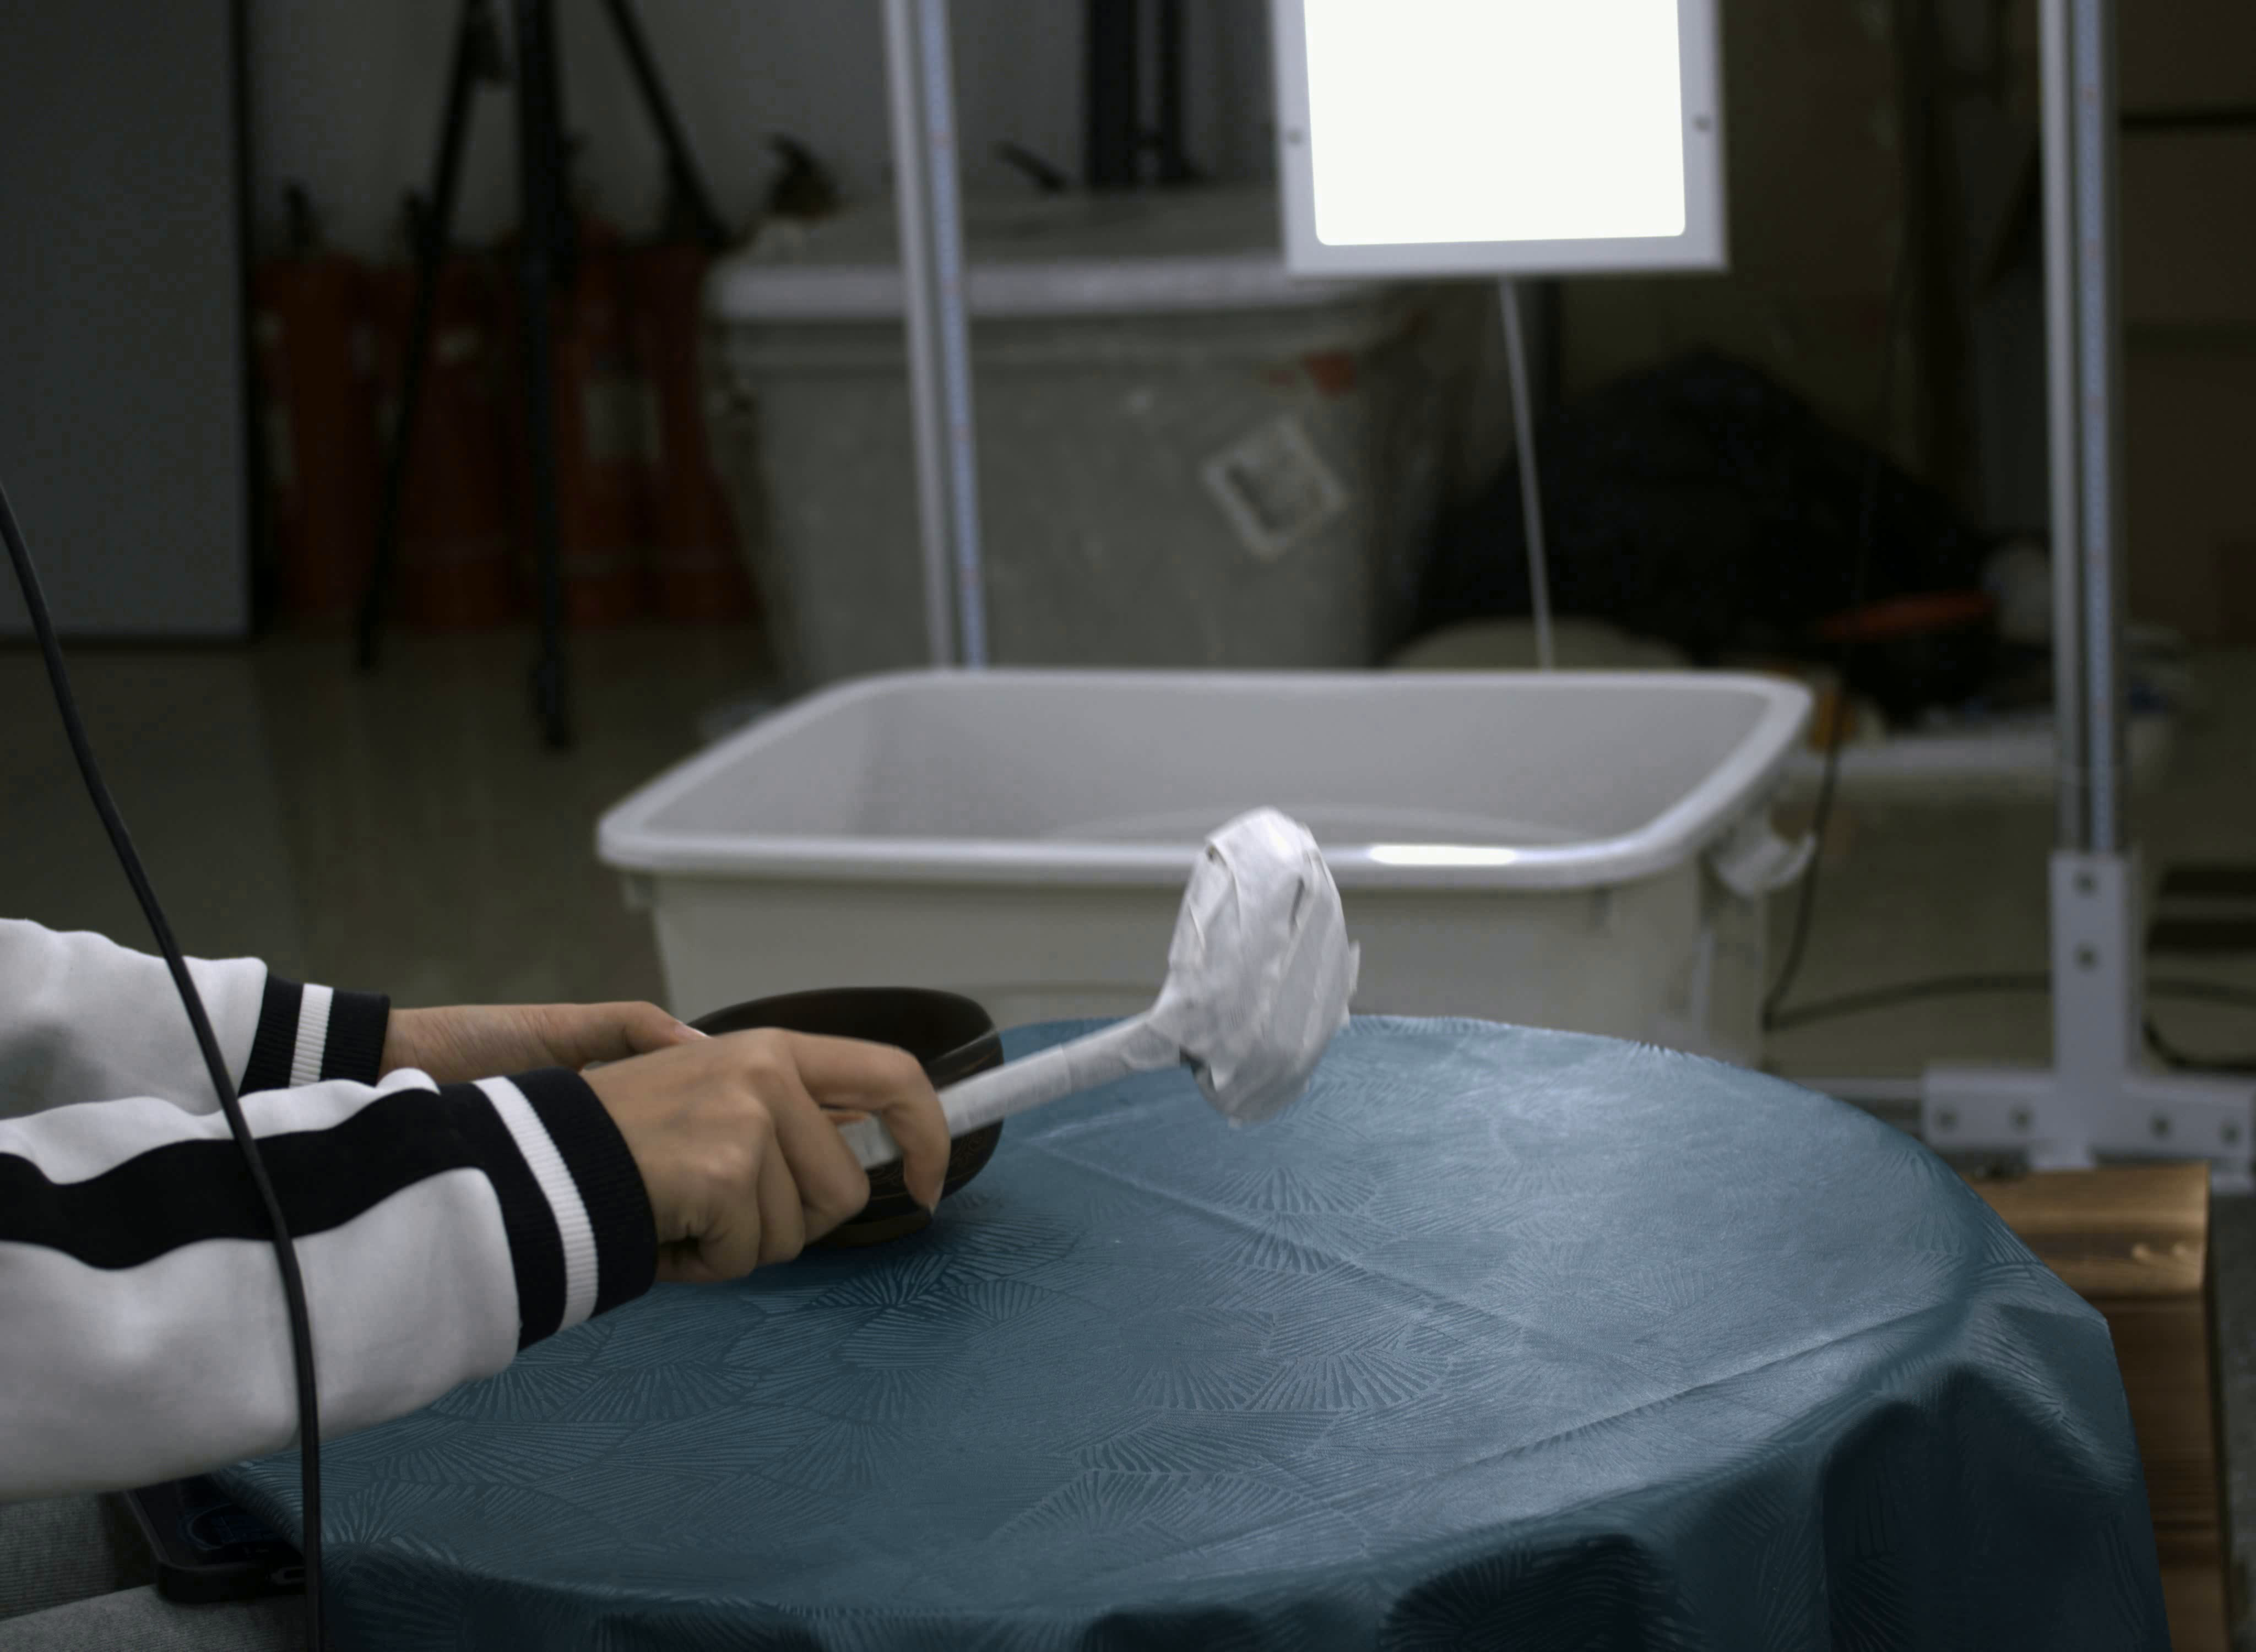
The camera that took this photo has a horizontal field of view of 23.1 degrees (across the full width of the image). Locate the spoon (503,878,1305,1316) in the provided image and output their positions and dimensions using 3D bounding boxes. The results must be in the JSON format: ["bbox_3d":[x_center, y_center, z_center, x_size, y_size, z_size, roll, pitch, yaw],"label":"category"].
[{"bbox_3d":[-0.063,0.090,1.642,0.273,0.101,0.060,-16,37,-16],"label":"spoon"}]

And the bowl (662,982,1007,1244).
[{"bbox_3d":[-0.098,0.101,1.883,0.118,0.070,0.118,-6,14,0],"label":"bowl"}]
